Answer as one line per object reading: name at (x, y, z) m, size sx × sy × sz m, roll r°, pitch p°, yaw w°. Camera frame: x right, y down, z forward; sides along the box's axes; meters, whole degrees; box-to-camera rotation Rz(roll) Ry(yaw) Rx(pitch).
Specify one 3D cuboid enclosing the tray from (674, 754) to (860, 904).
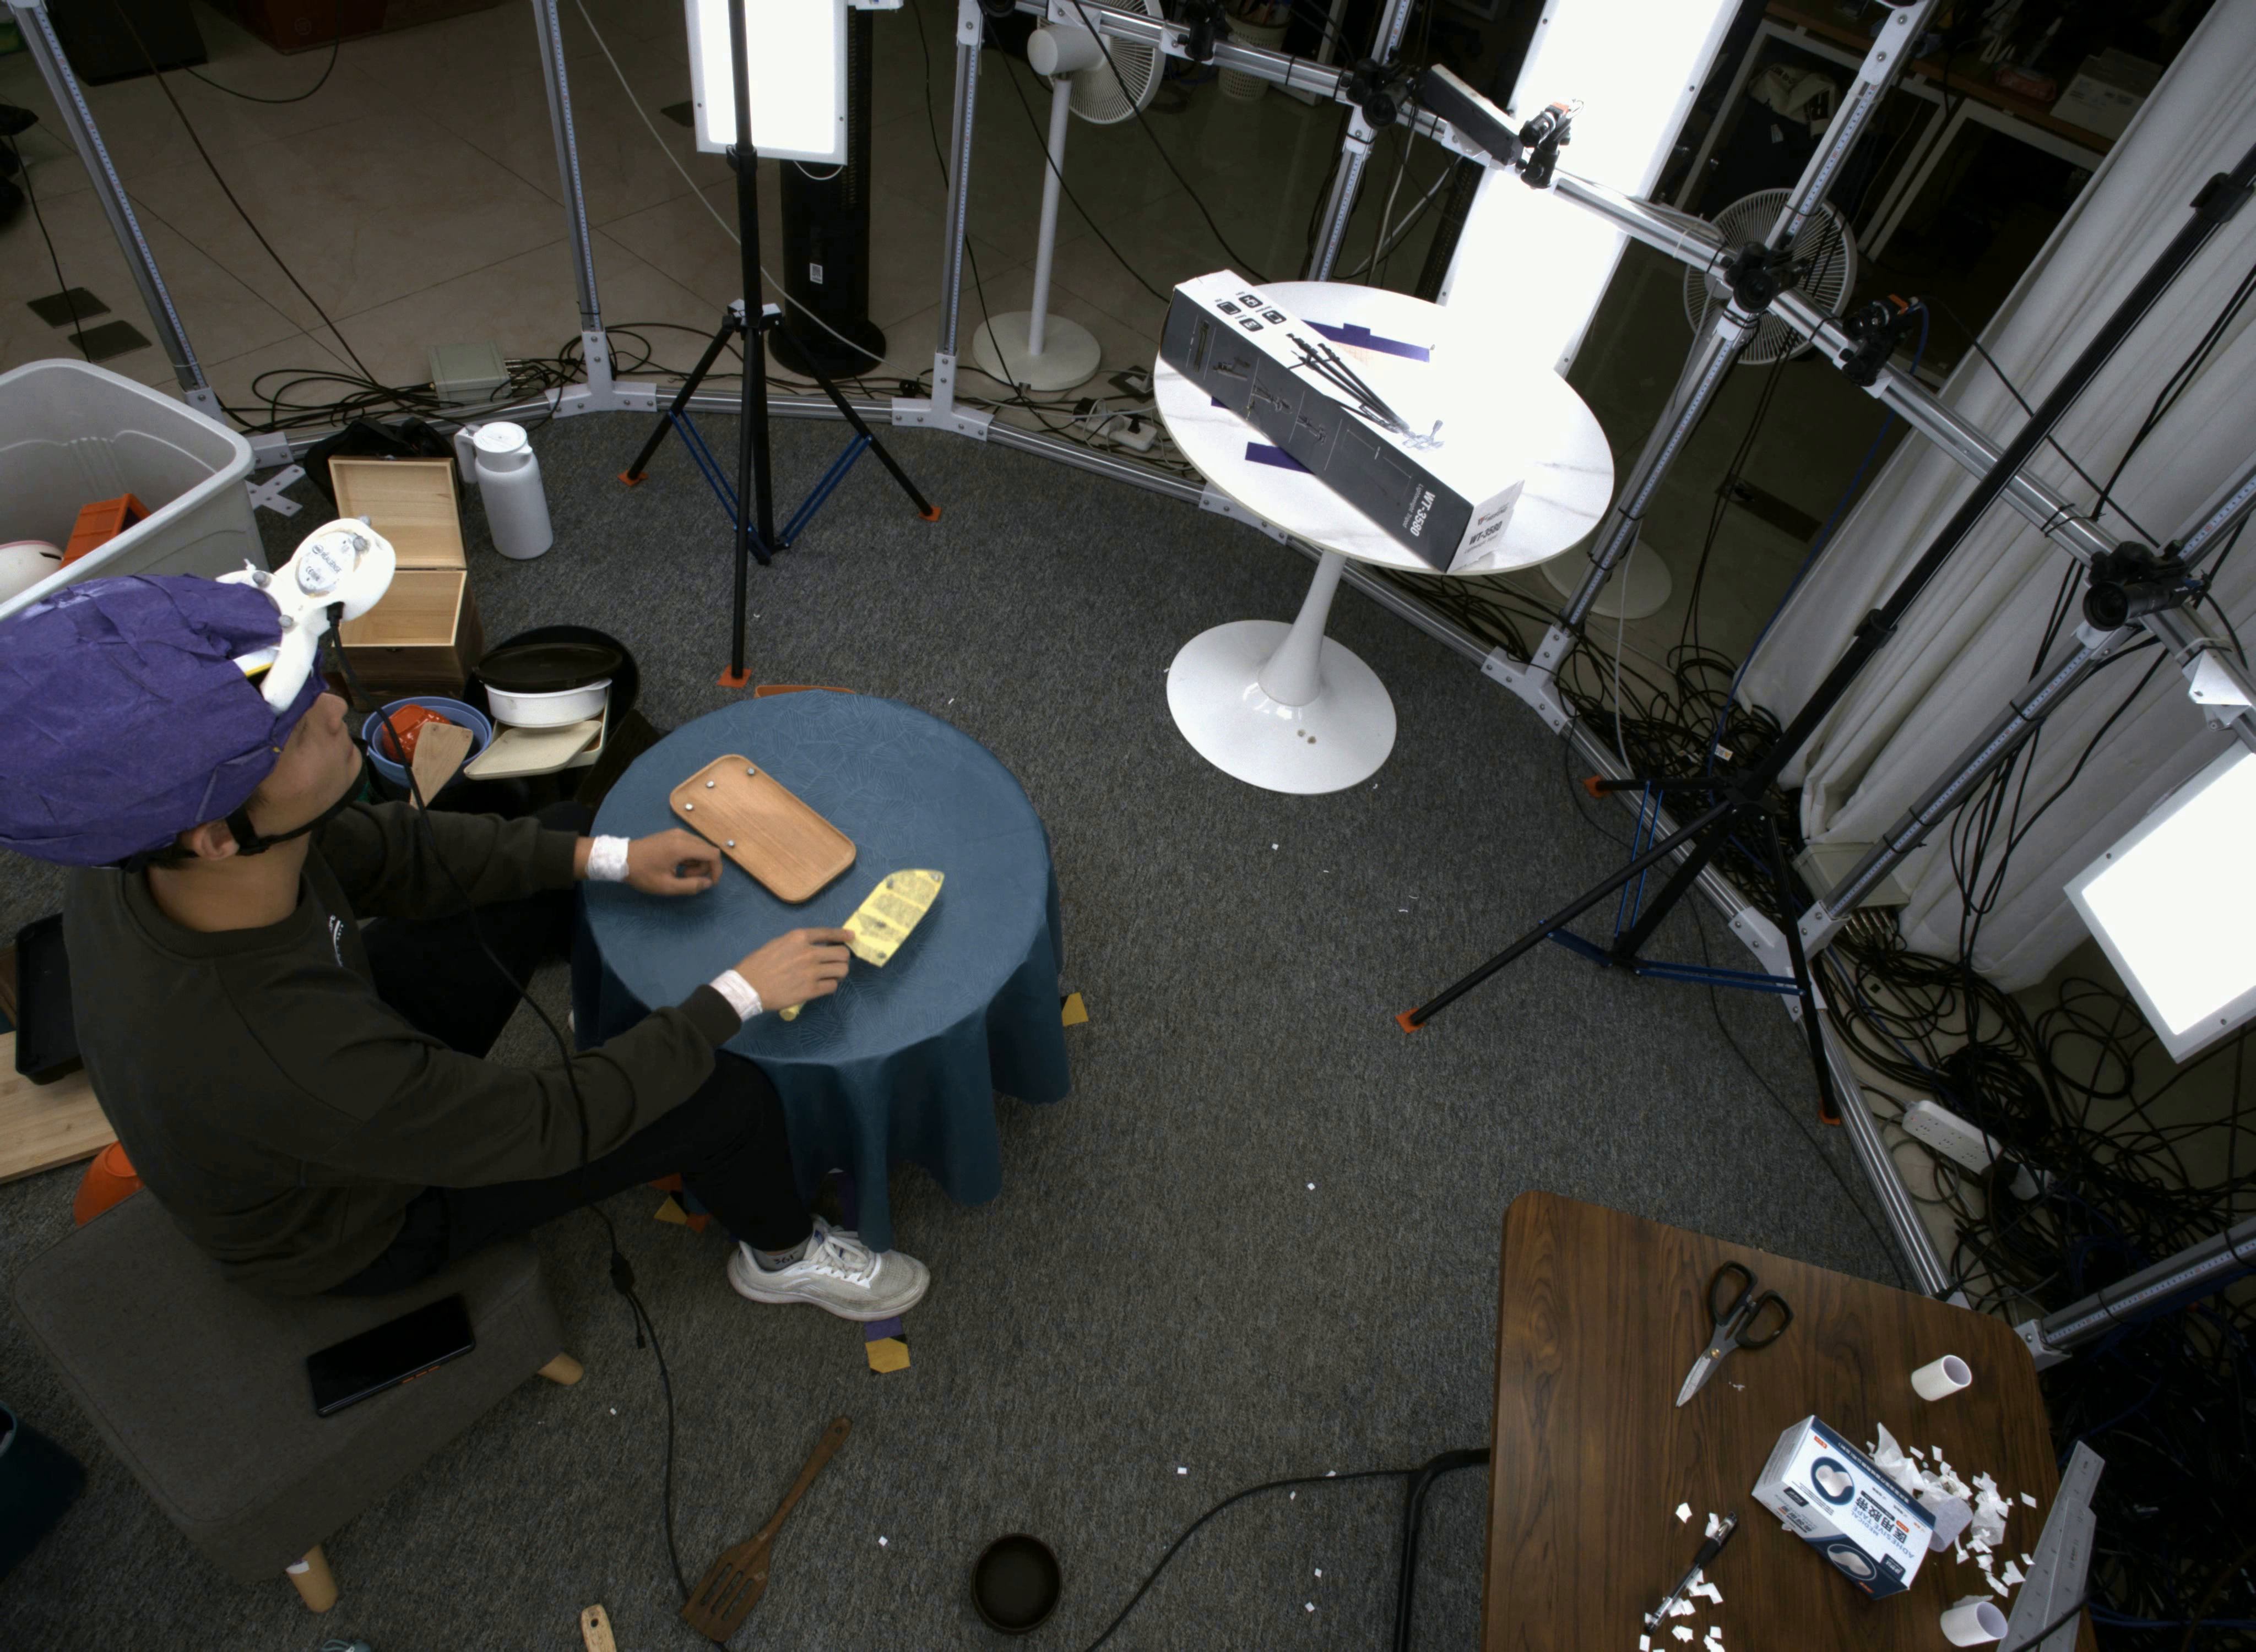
tray at (-0.477, 0.001, 1.710) m, size 0.246 × 0.023 × 0.130 m, roll 36°, pitch 57°, yaw 13°

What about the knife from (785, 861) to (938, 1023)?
knife at (-0.322, 0.136, 1.596) m, size 0.079 × 0.028 × 0.288 m, roll 26°, pitch 49°, yaw 12°
